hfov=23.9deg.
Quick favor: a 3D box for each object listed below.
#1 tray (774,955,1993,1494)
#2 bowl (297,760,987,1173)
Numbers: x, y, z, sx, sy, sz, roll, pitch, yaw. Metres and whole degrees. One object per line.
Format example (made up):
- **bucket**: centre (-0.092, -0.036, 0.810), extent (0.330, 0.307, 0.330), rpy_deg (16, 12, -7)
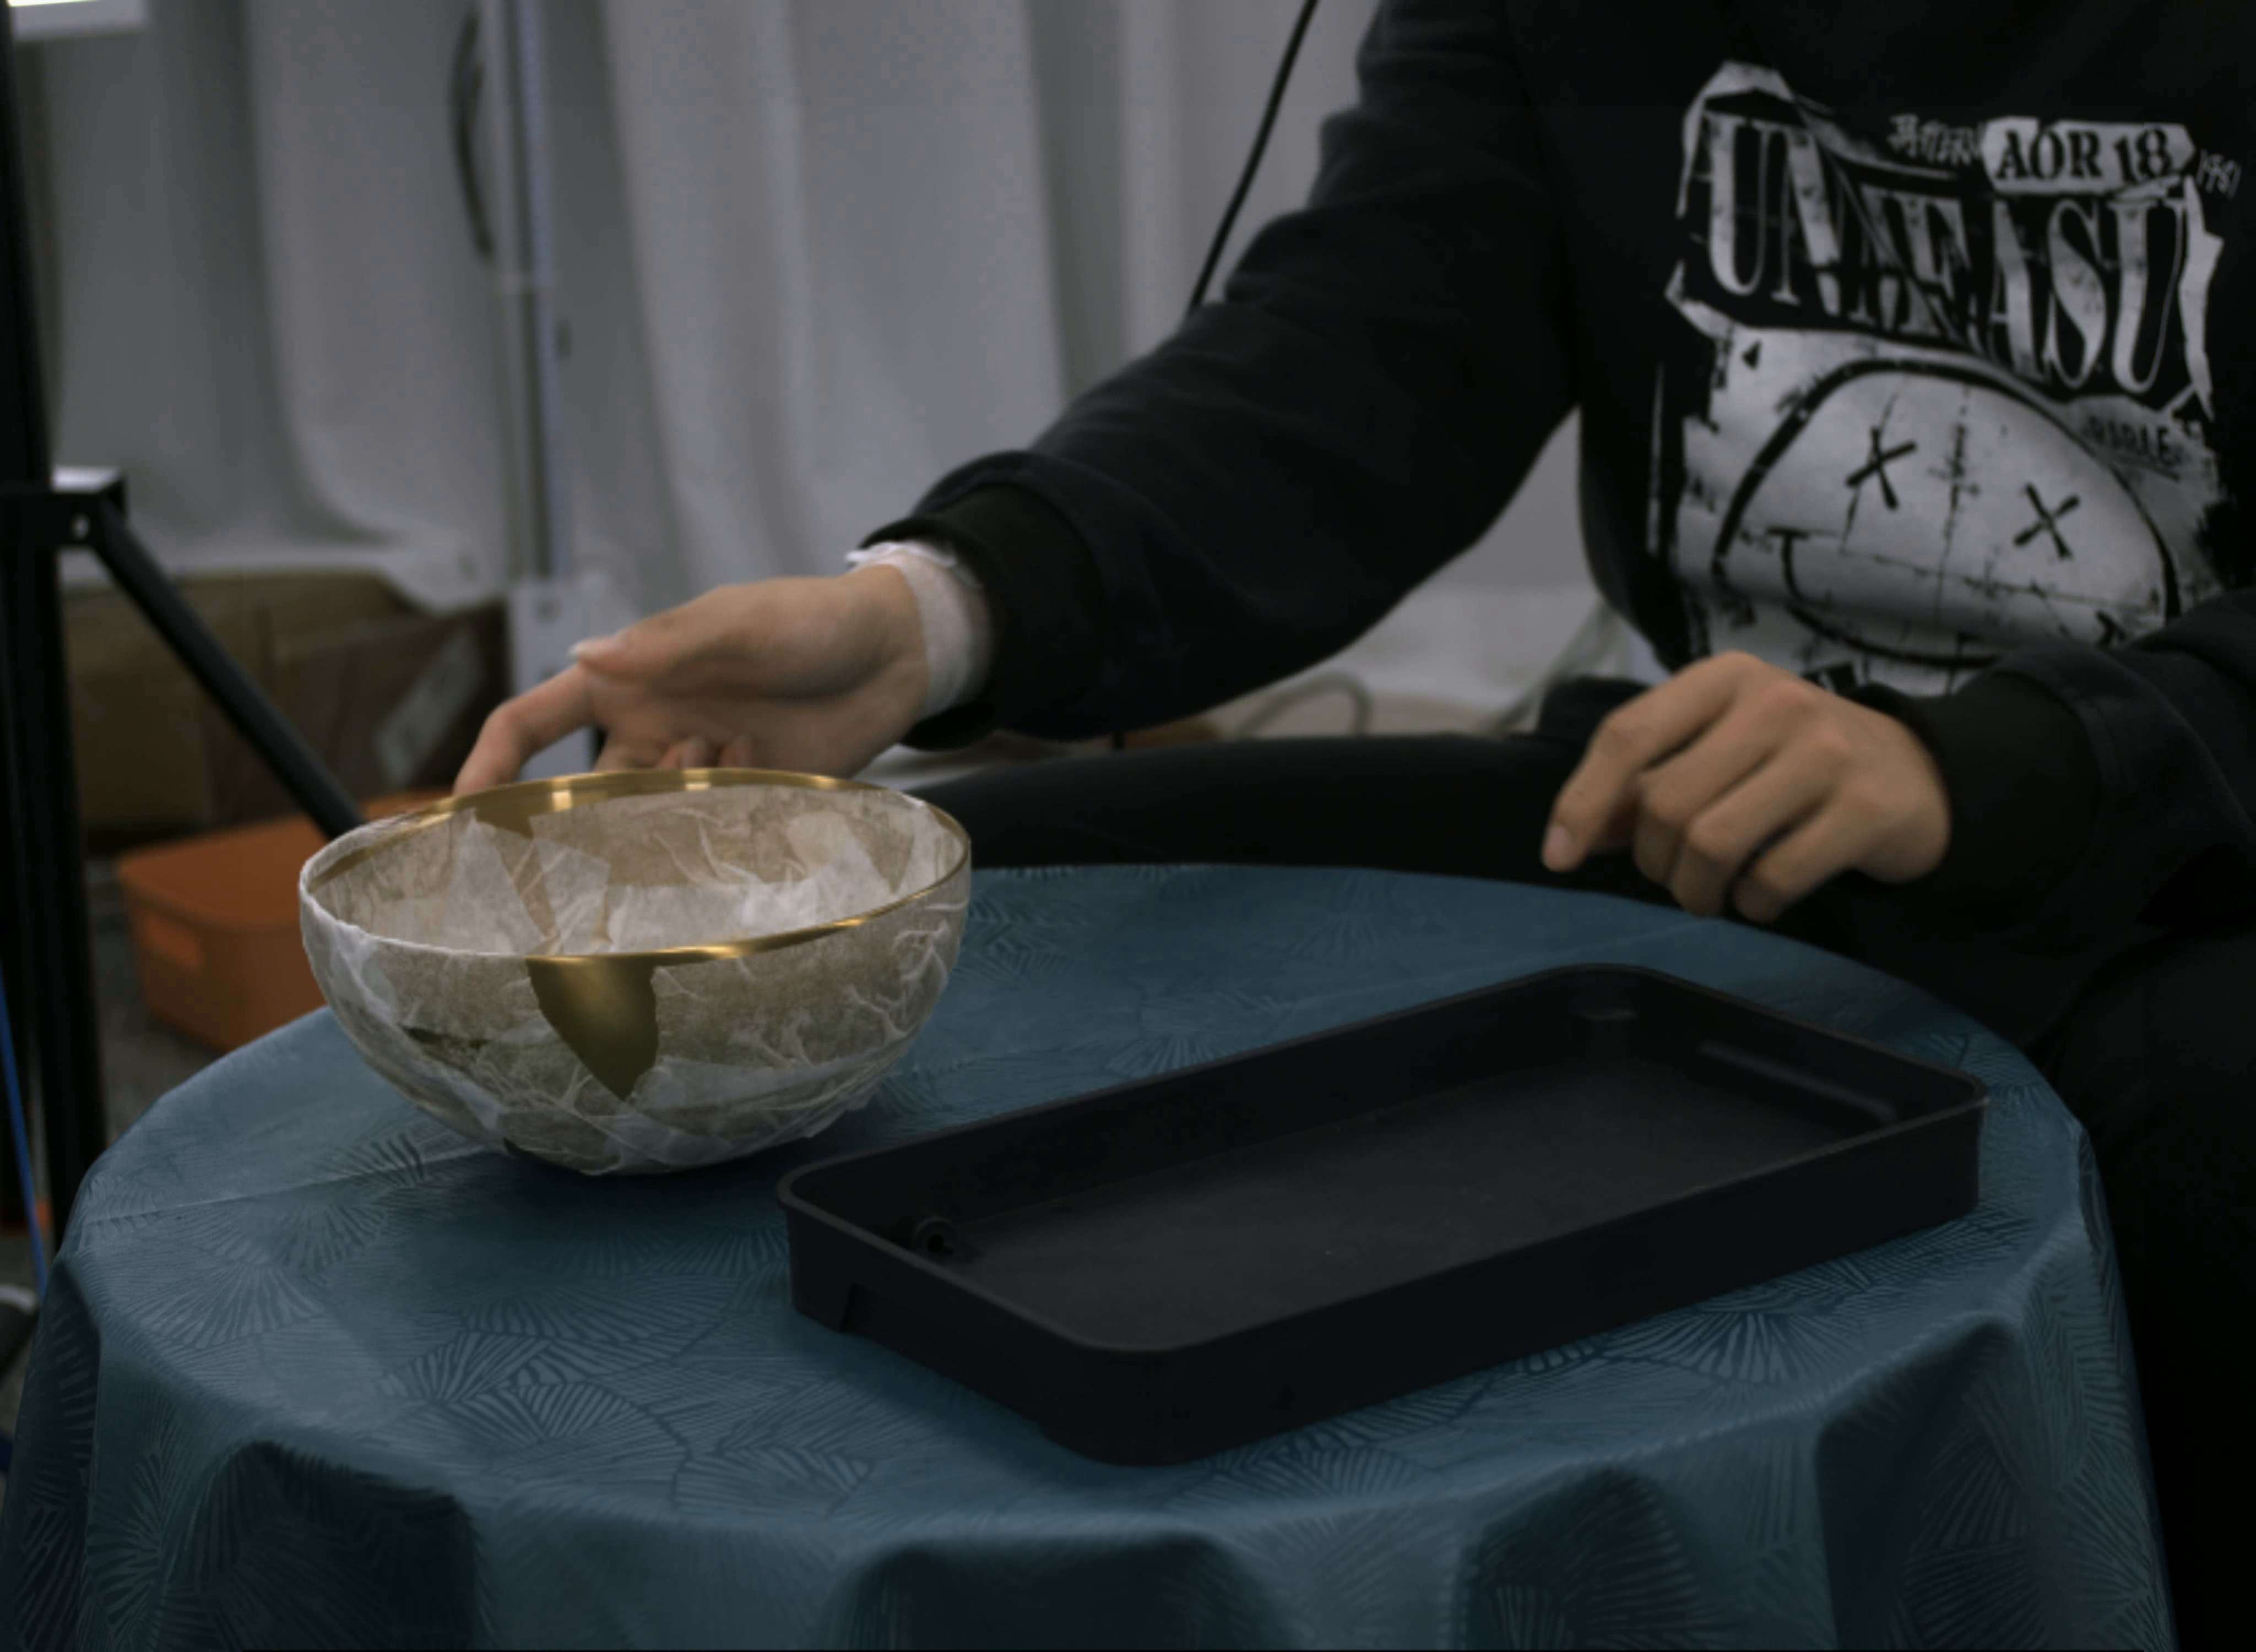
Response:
- **tray**: centre (0.074, 0.106, 1.497), extent (0.311, 0.037, 0.188), rpy_deg (-14, 20, -30)
- **bowl**: centre (-0.142, 0.051, 1.614), extent (0.213, 0.094, 0.216), rpy_deg (-3, 15, -1)
